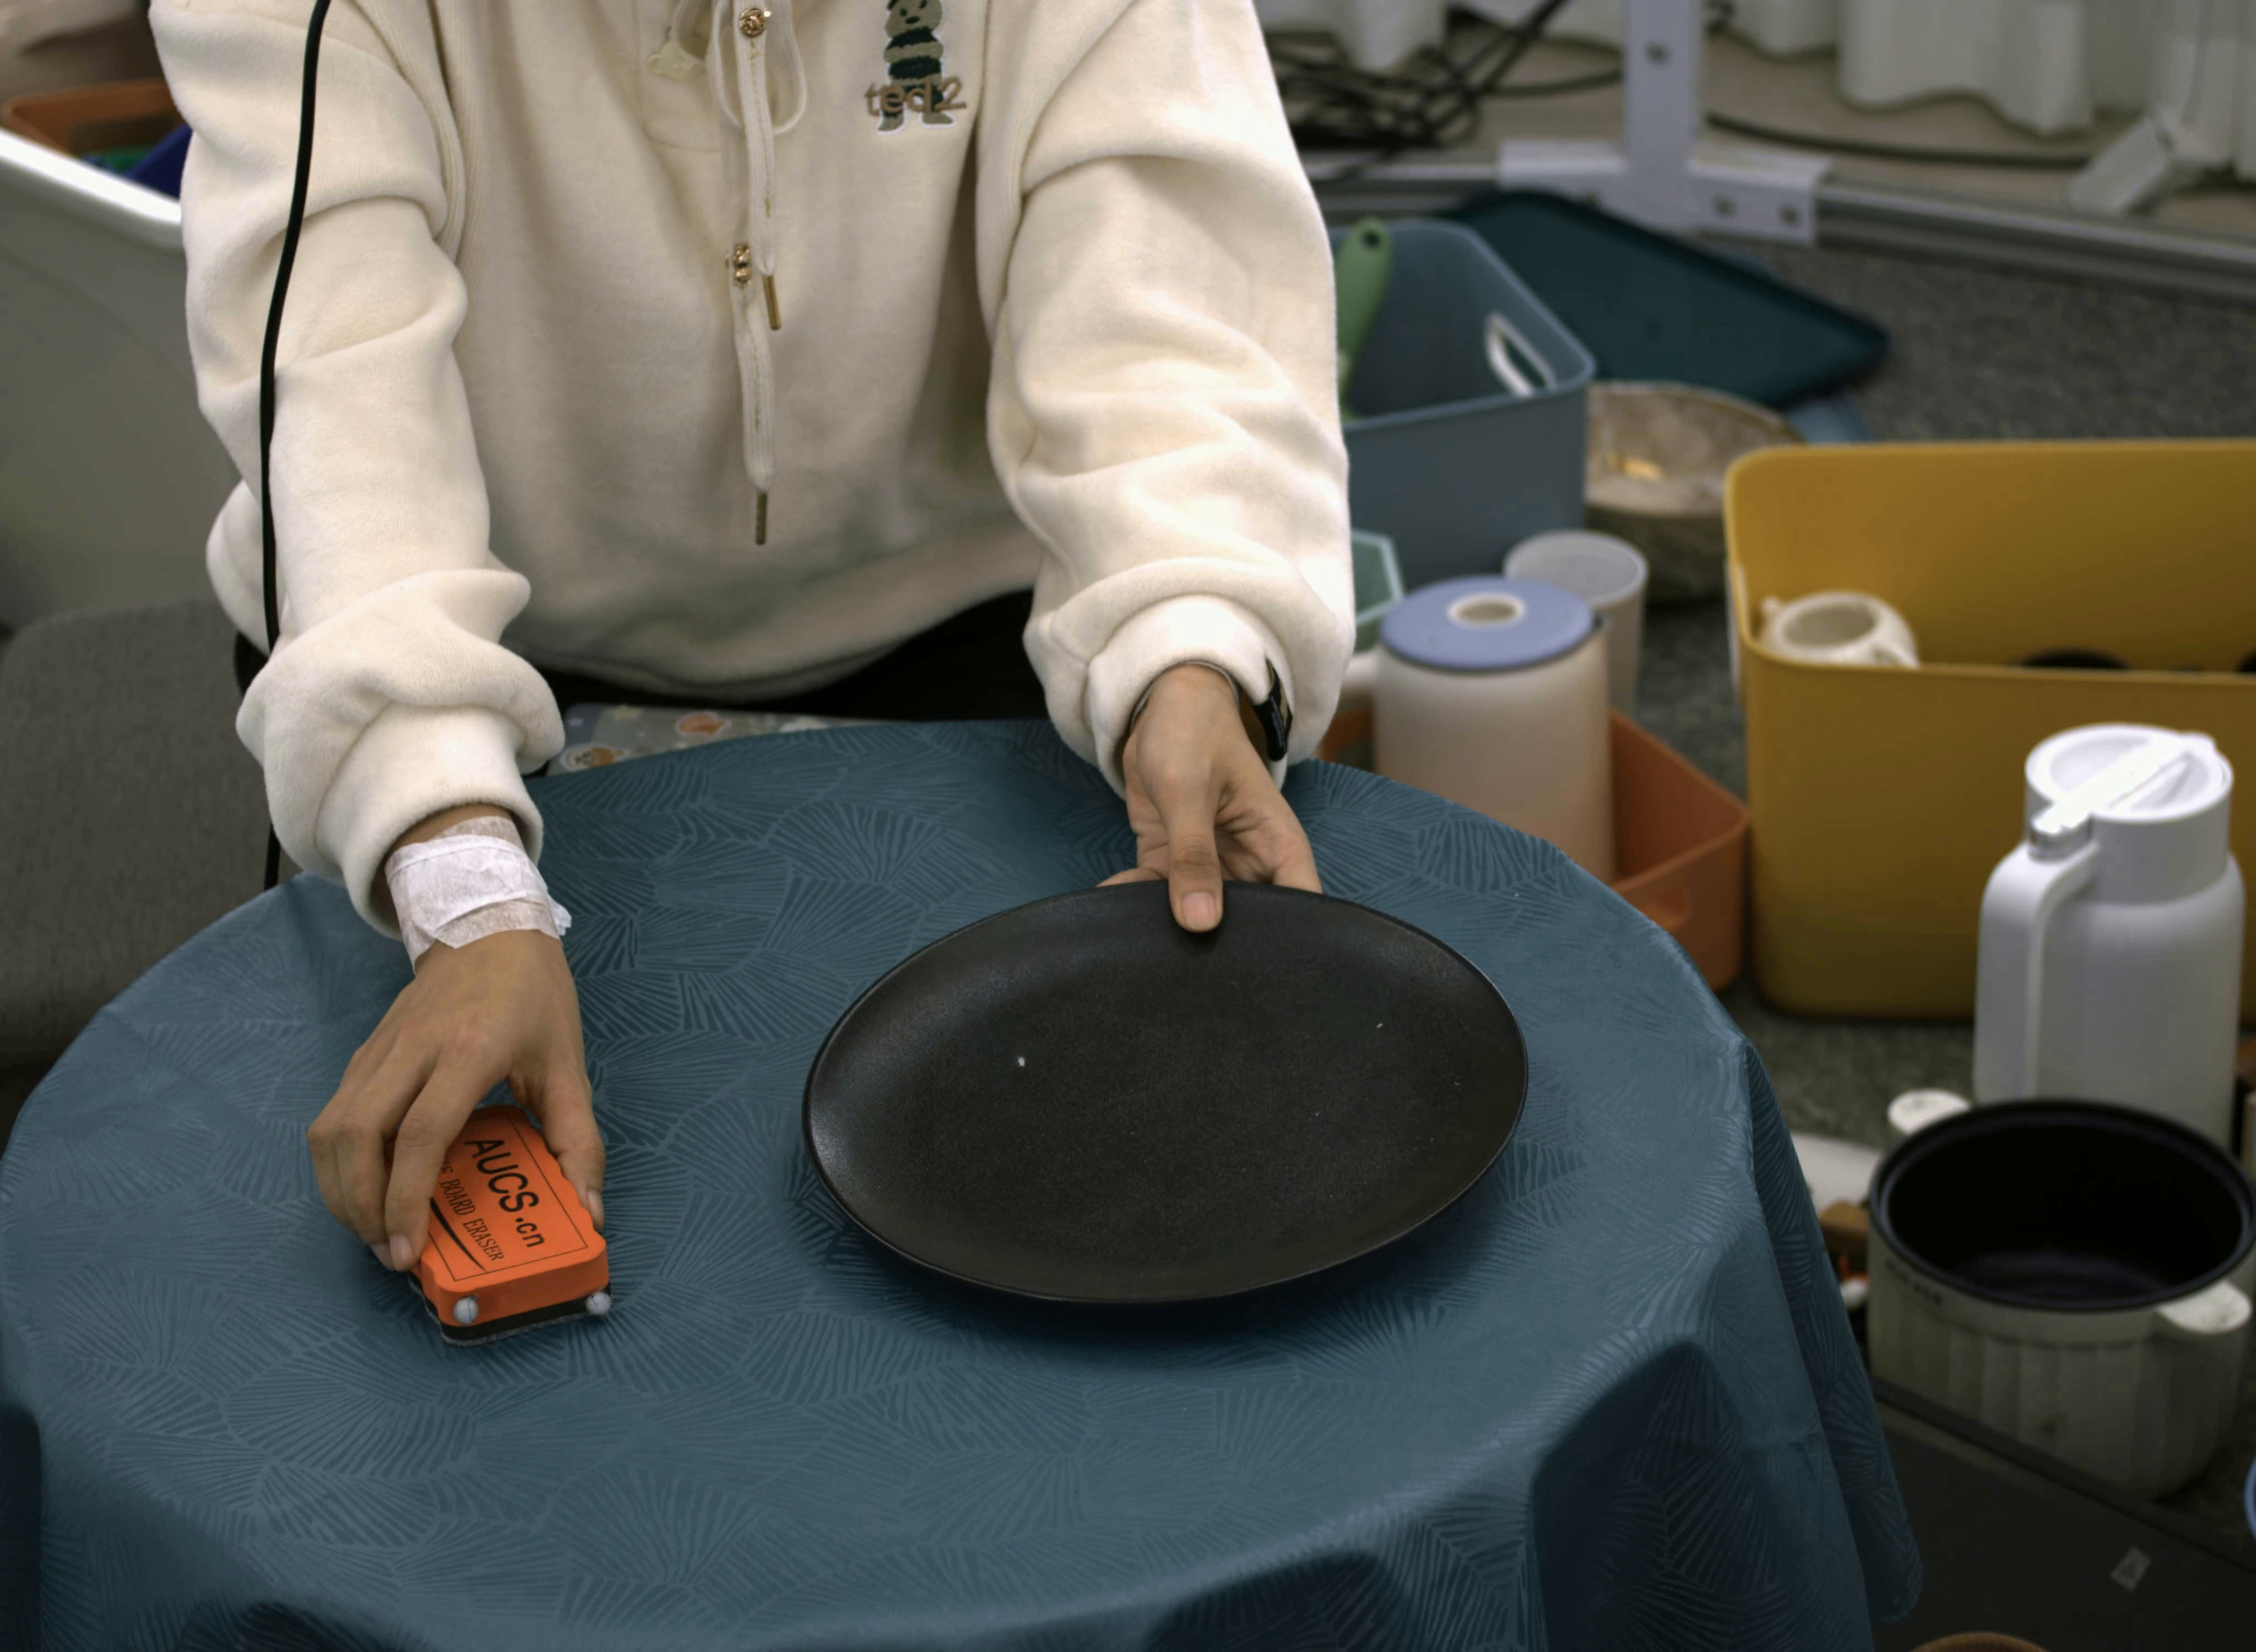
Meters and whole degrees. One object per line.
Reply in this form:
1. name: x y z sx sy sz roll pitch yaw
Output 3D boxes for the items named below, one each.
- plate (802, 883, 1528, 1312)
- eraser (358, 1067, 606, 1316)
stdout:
1. plate: 0.013 0.093 1.874 0.243 0.023 0.248 -3 32 2
2. eraser: -0.212 0.119 1.836 0.059 0.022 0.109 -17 31 -15
